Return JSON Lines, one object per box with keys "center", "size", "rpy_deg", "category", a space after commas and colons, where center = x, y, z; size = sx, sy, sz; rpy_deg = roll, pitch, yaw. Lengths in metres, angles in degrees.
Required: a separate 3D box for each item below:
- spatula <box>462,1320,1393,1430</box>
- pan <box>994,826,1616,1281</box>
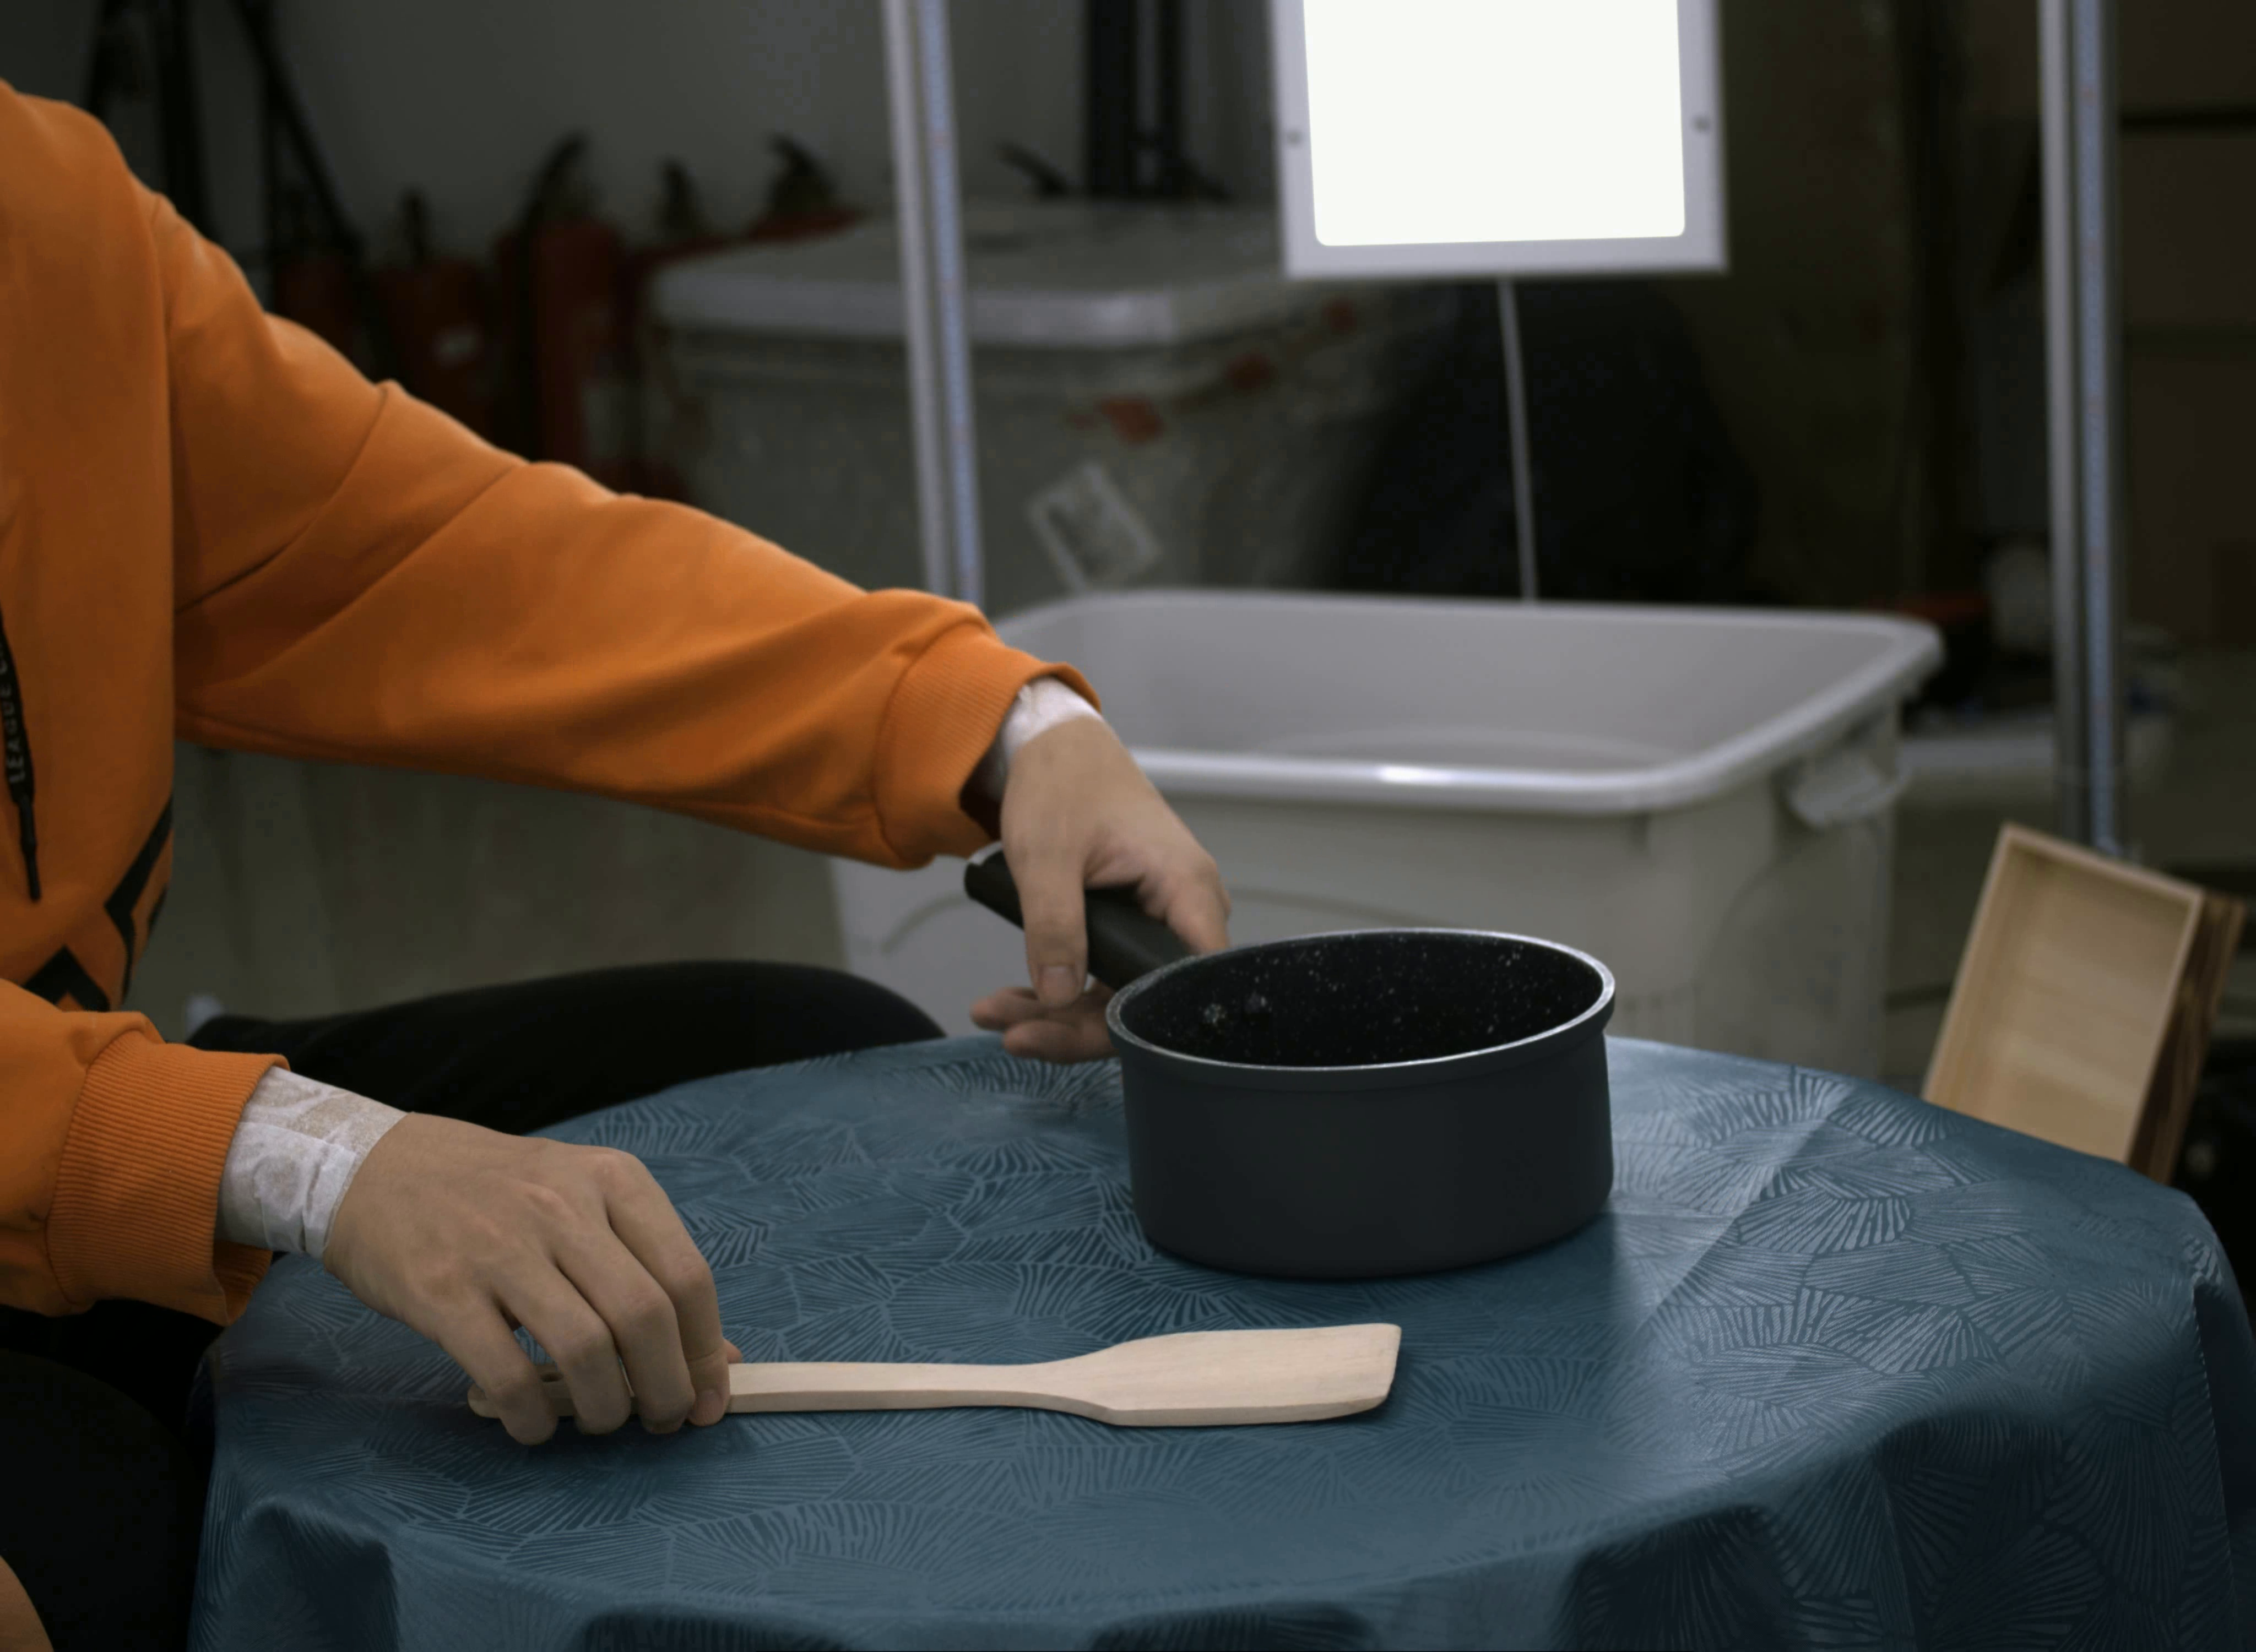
{"center": [-0.064, 0.173, 1.711], "size": [0.294, 0.011, 0.071], "rpy_deg": [-2, 17, 10], "category": "spatula"}
{"center": [0.042, 0.075, 1.916], "size": [0.168, 0.087, 0.334], "rpy_deg": [-11, 17, -26], "category": "pan"}
